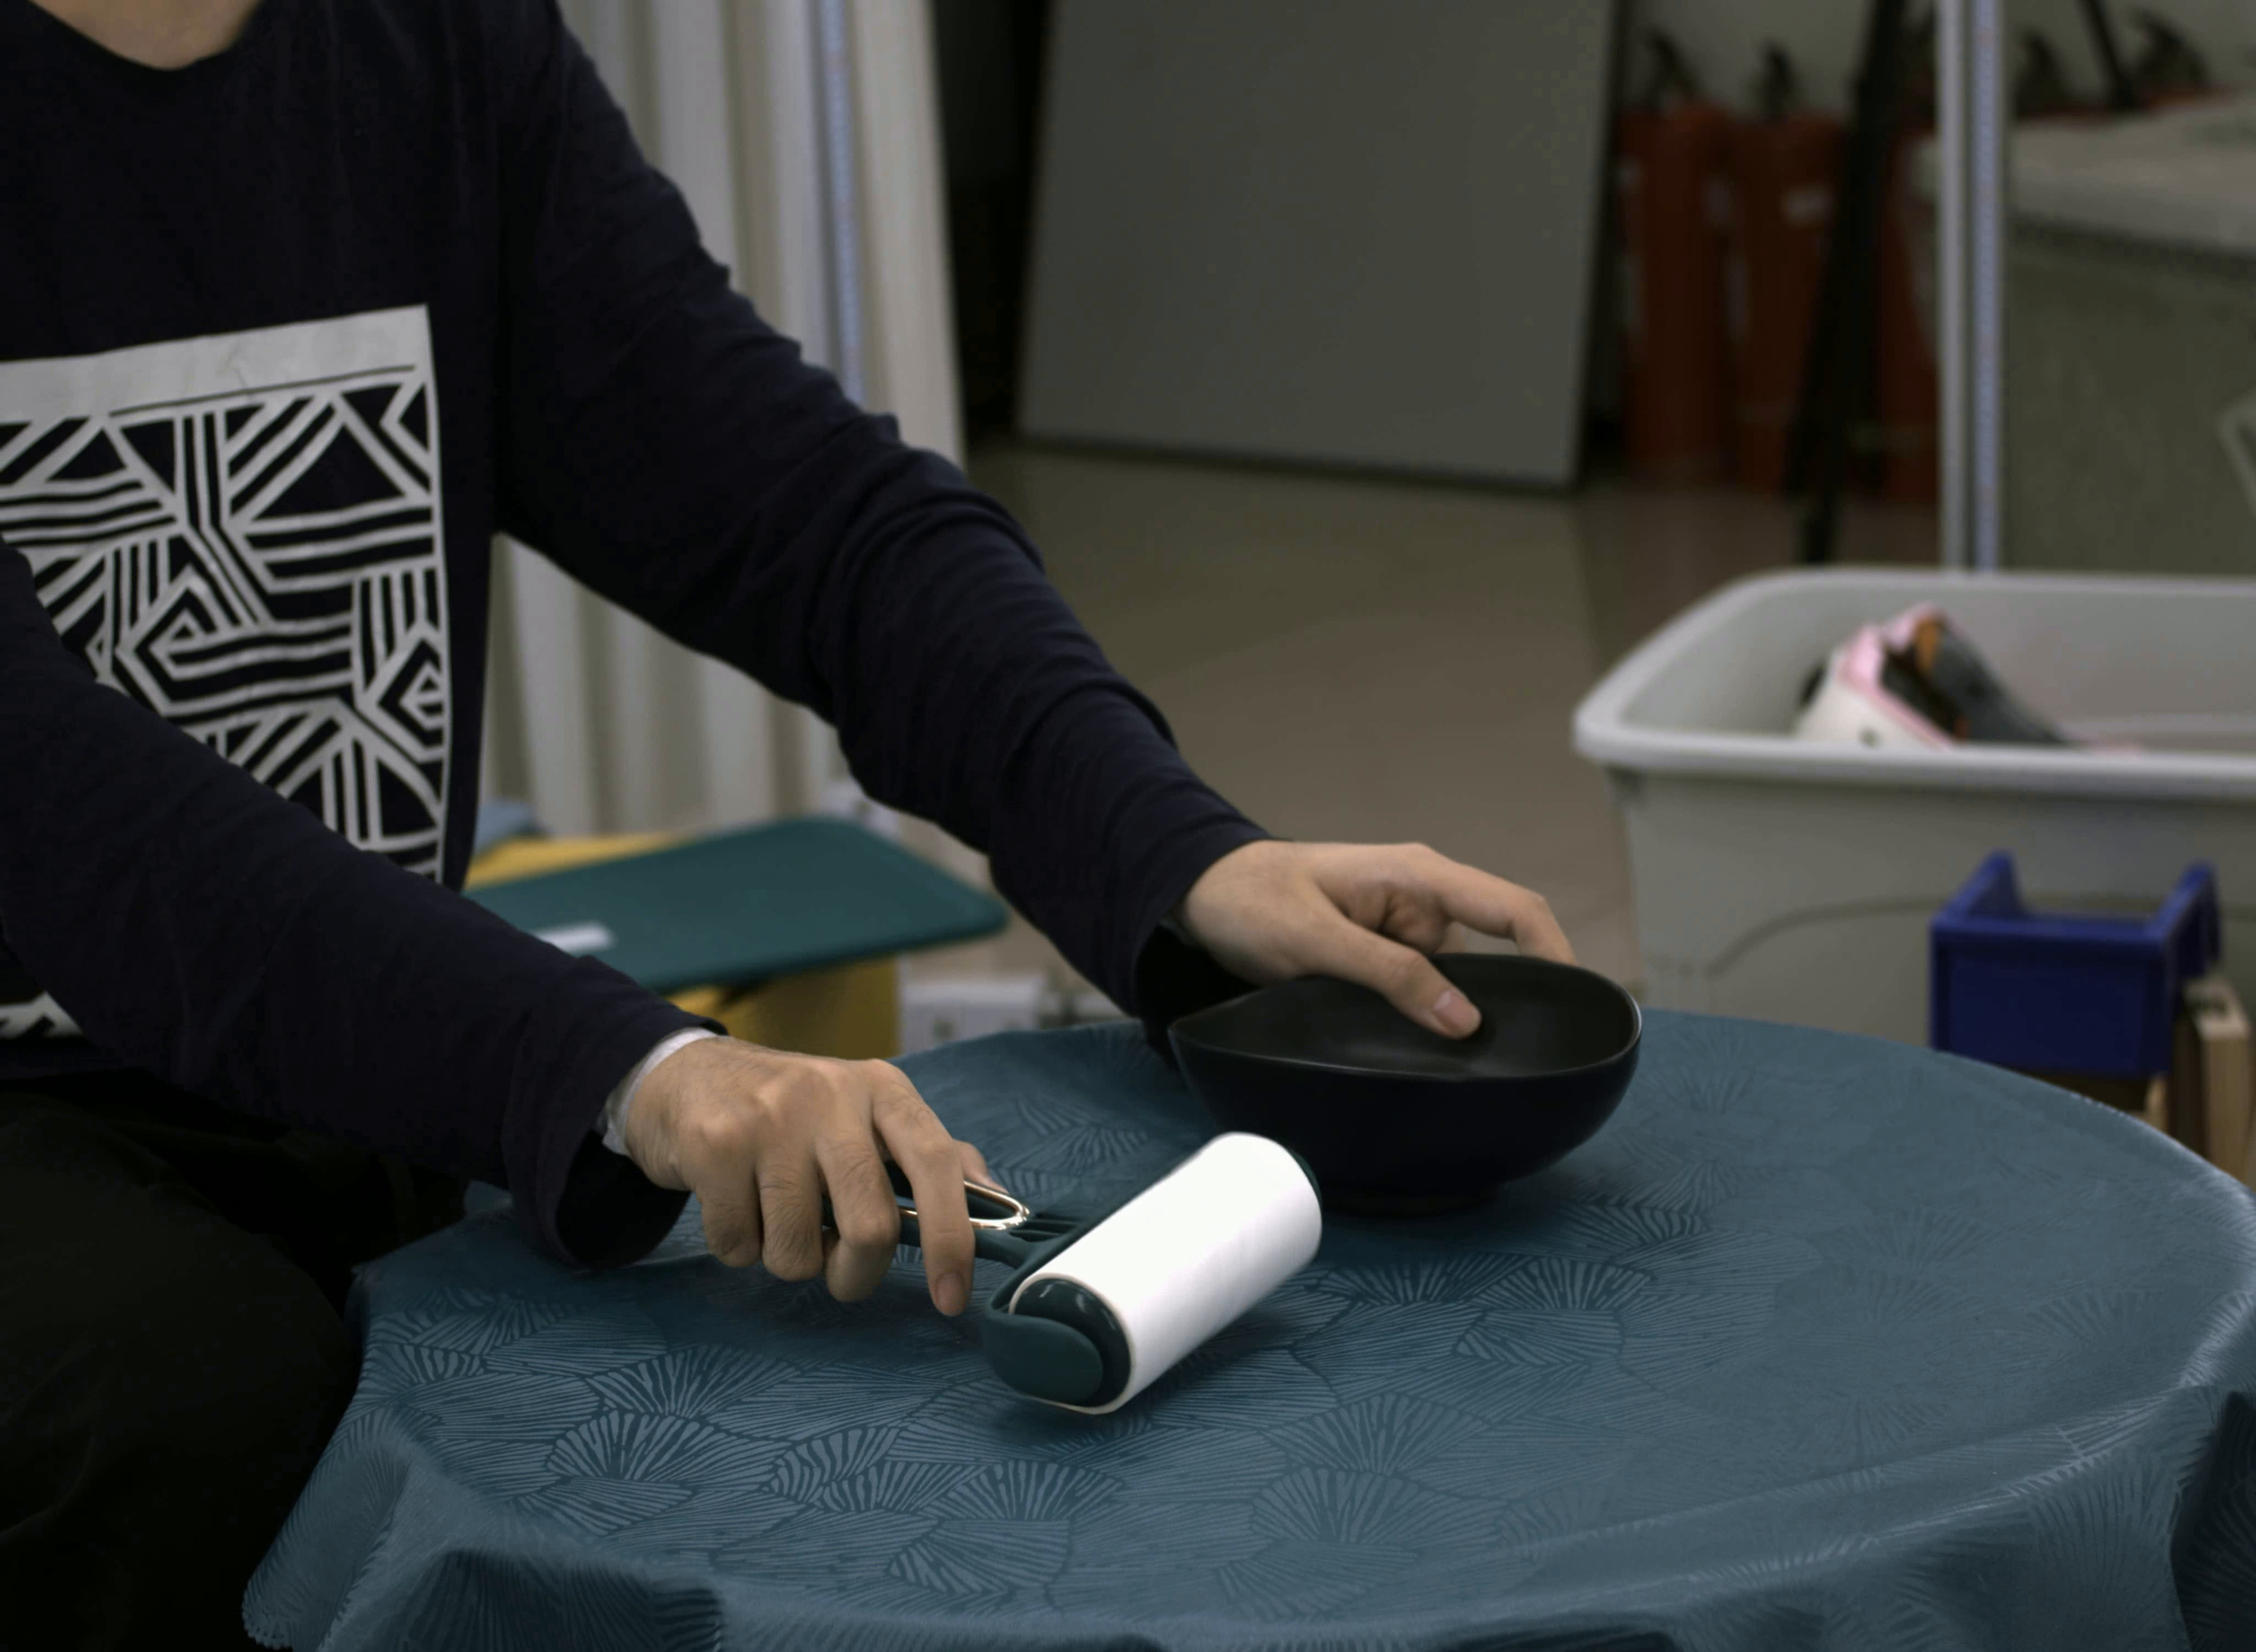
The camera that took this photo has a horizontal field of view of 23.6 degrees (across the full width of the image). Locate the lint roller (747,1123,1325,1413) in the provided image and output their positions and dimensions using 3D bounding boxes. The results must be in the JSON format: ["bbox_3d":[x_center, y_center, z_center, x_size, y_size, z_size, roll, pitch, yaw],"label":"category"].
[{"bbox_3d":[-0.044,0.117,1.634,0.181,0.049,0.132,13,31,33],"label":"lint roller"}]

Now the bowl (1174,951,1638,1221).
[{"bbox_3d":[0.090,0.088,1.749,0.172,0.067,0.134,7,17,44],"label":"bowl"}]
